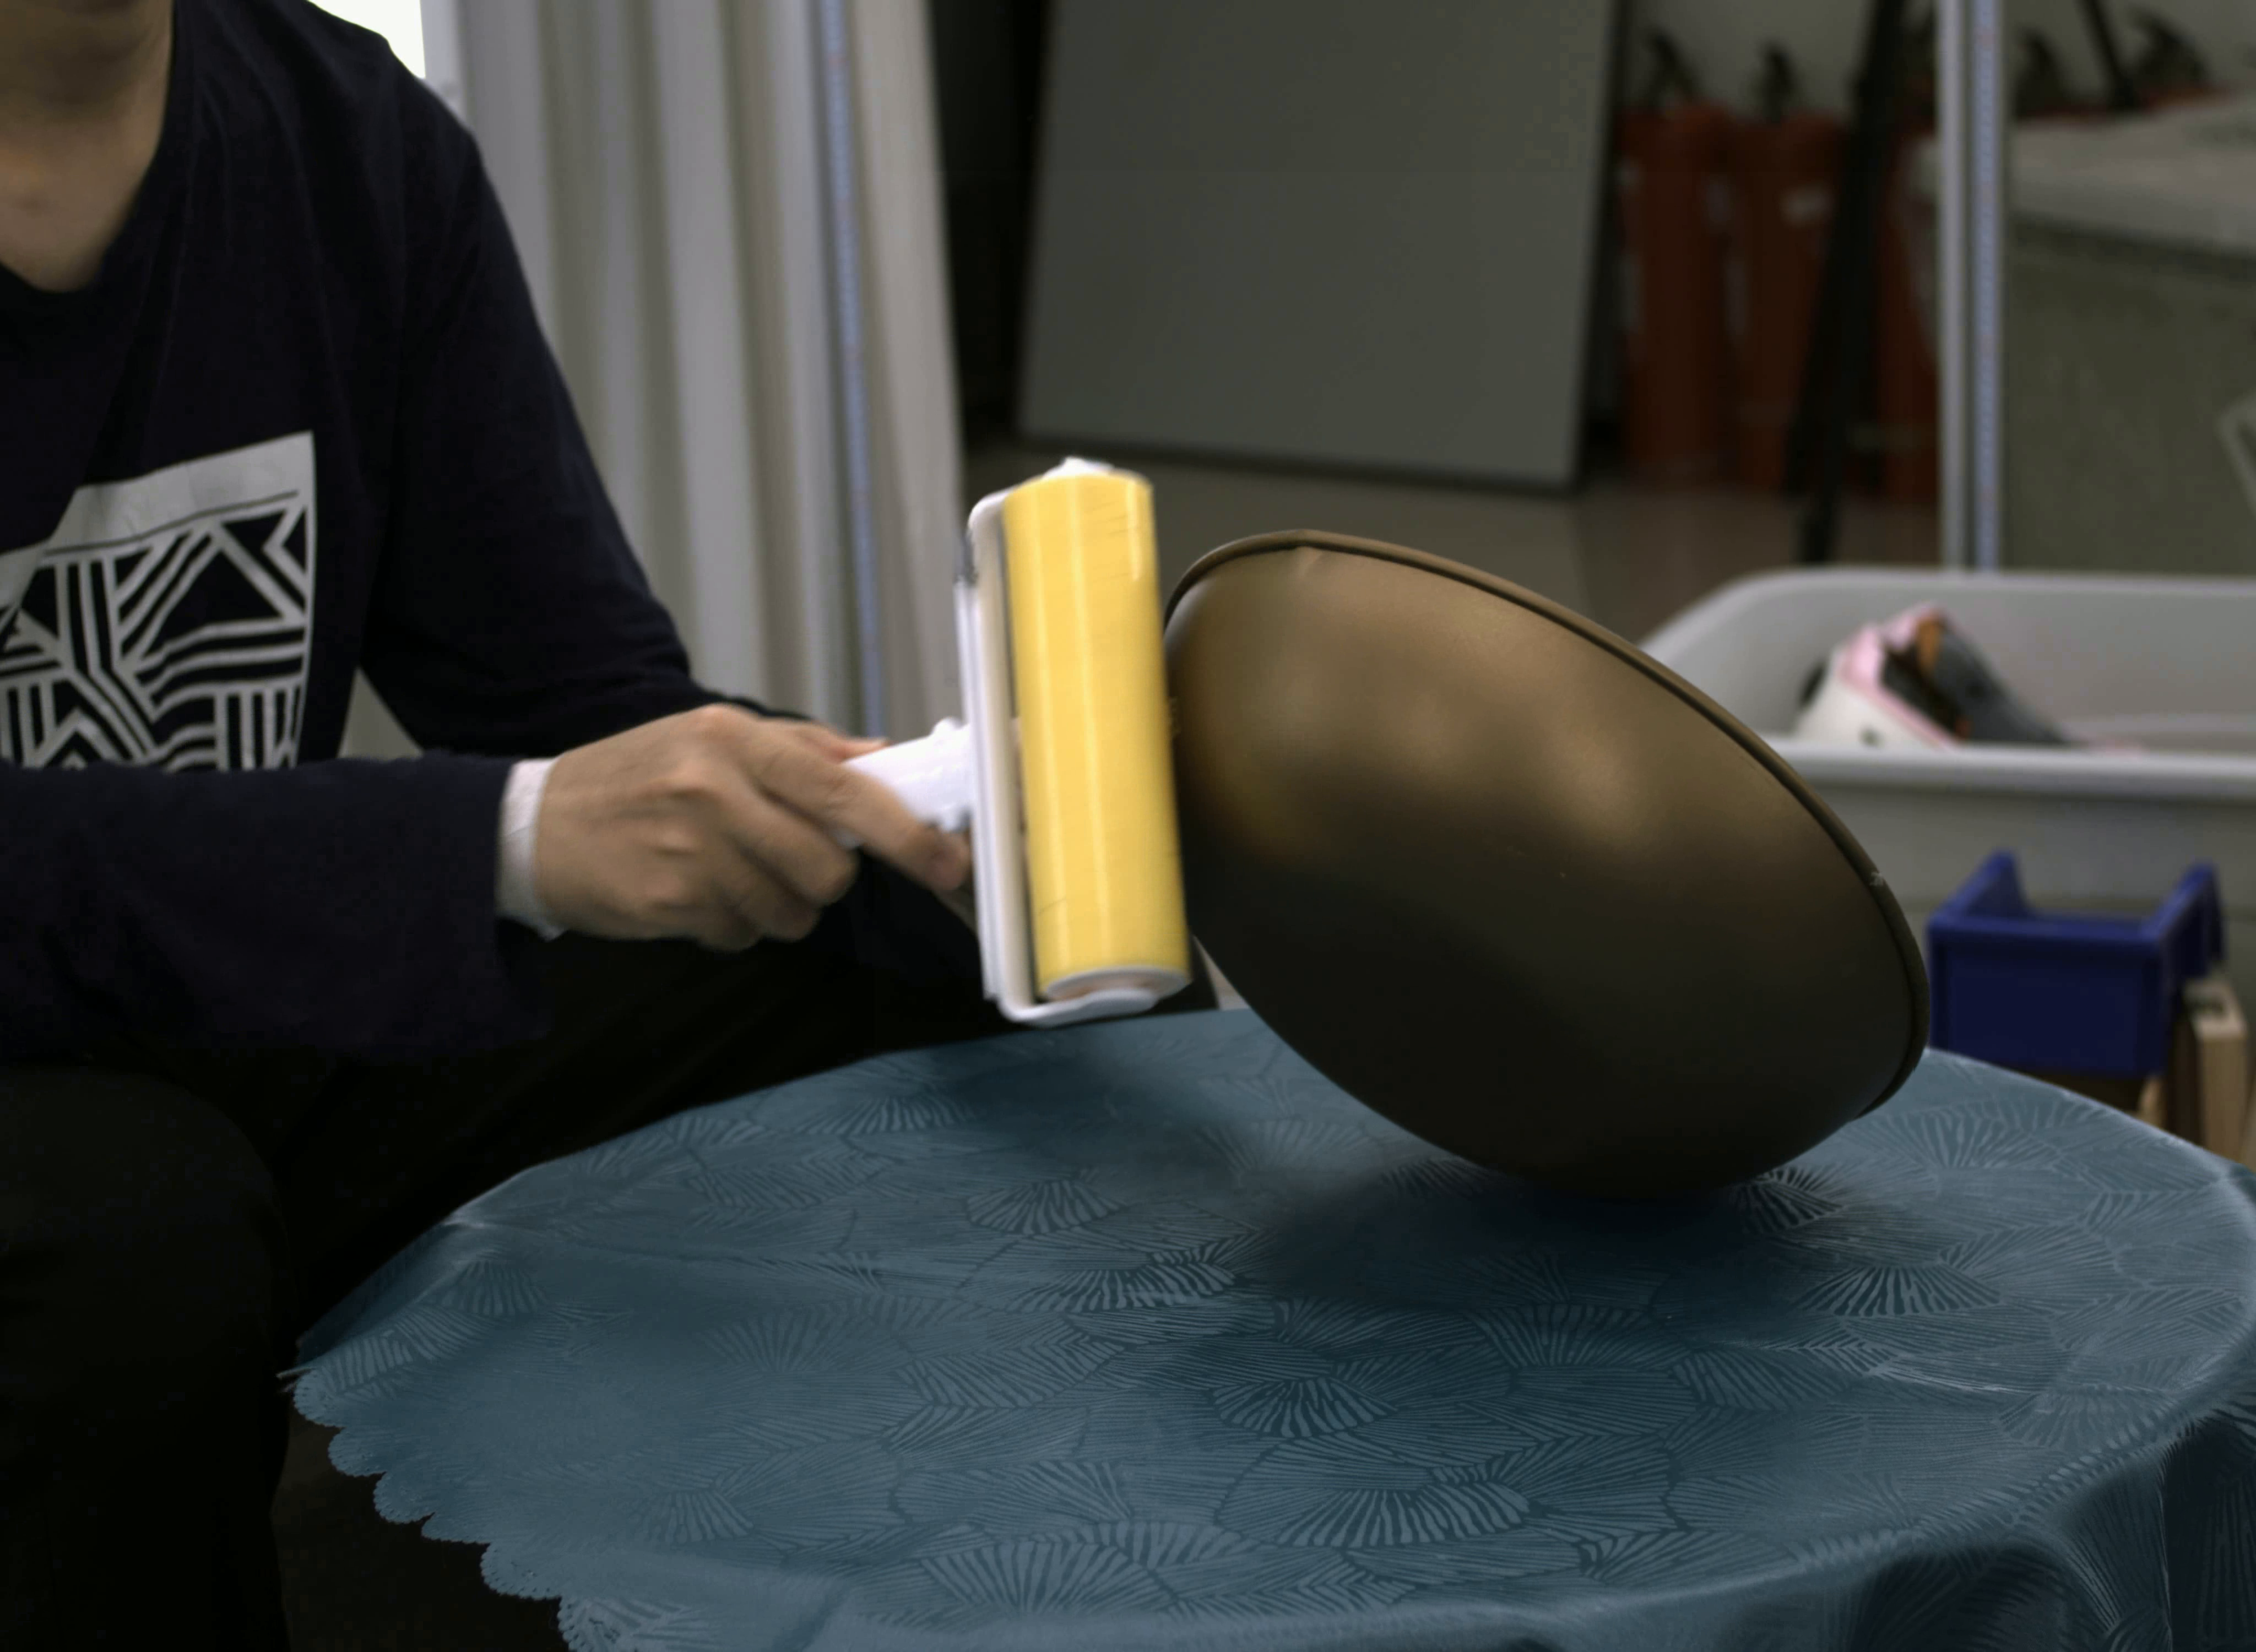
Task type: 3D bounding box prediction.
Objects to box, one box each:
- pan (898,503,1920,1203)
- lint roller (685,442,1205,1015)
[{"bbox_3d":[0.047,0.026,1.751,0.468,0.286,0.086,3,48,50],"label":"pan"},{"bbox_3d":[-0.067,-0.015,1.685,0.192,0.176,0.050,-14,-20,26],"label":"lint roller"}]
